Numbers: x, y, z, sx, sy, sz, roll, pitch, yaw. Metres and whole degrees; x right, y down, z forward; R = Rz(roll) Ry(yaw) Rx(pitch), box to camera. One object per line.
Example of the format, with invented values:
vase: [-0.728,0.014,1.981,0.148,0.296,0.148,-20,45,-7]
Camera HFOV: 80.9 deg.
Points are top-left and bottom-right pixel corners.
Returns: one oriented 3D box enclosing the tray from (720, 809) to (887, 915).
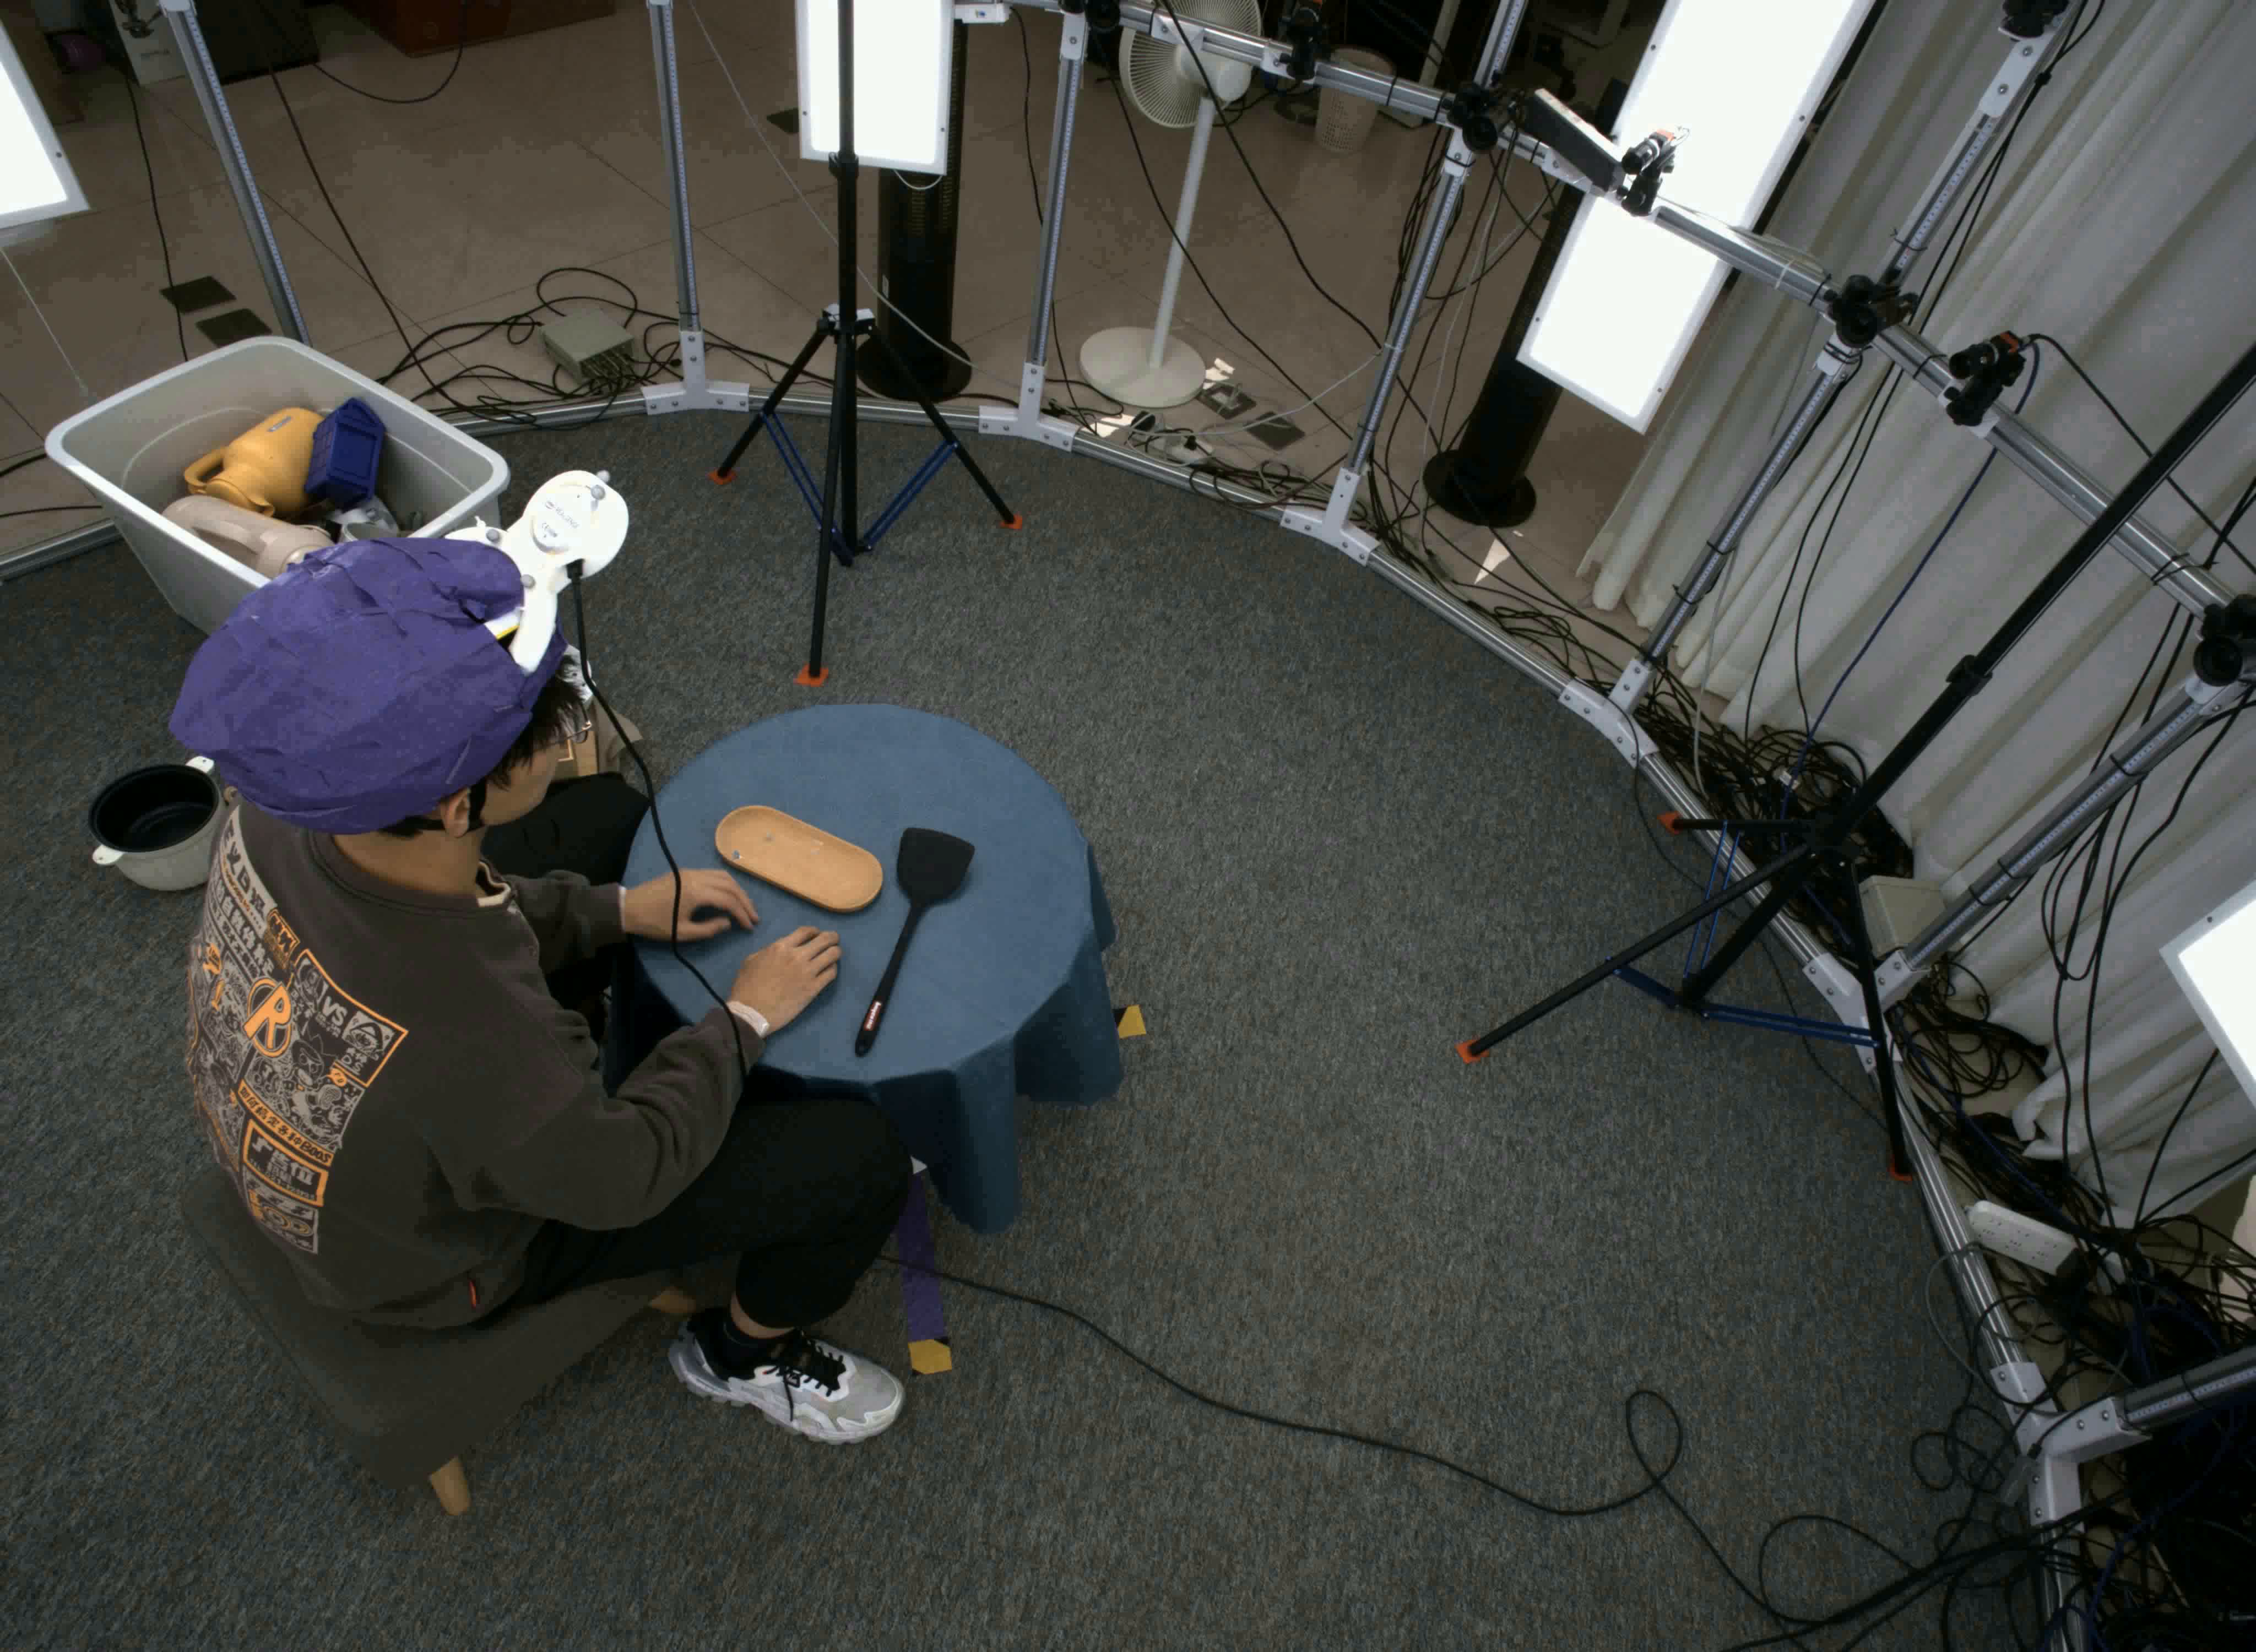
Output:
tray: [-0.425,0.045,1.695,0.228,0.021,0.101,24,53,3]

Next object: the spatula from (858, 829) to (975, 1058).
spatula: [-0.283,0.143,1.644,0.099,0.041,0.322,16,52,0]
